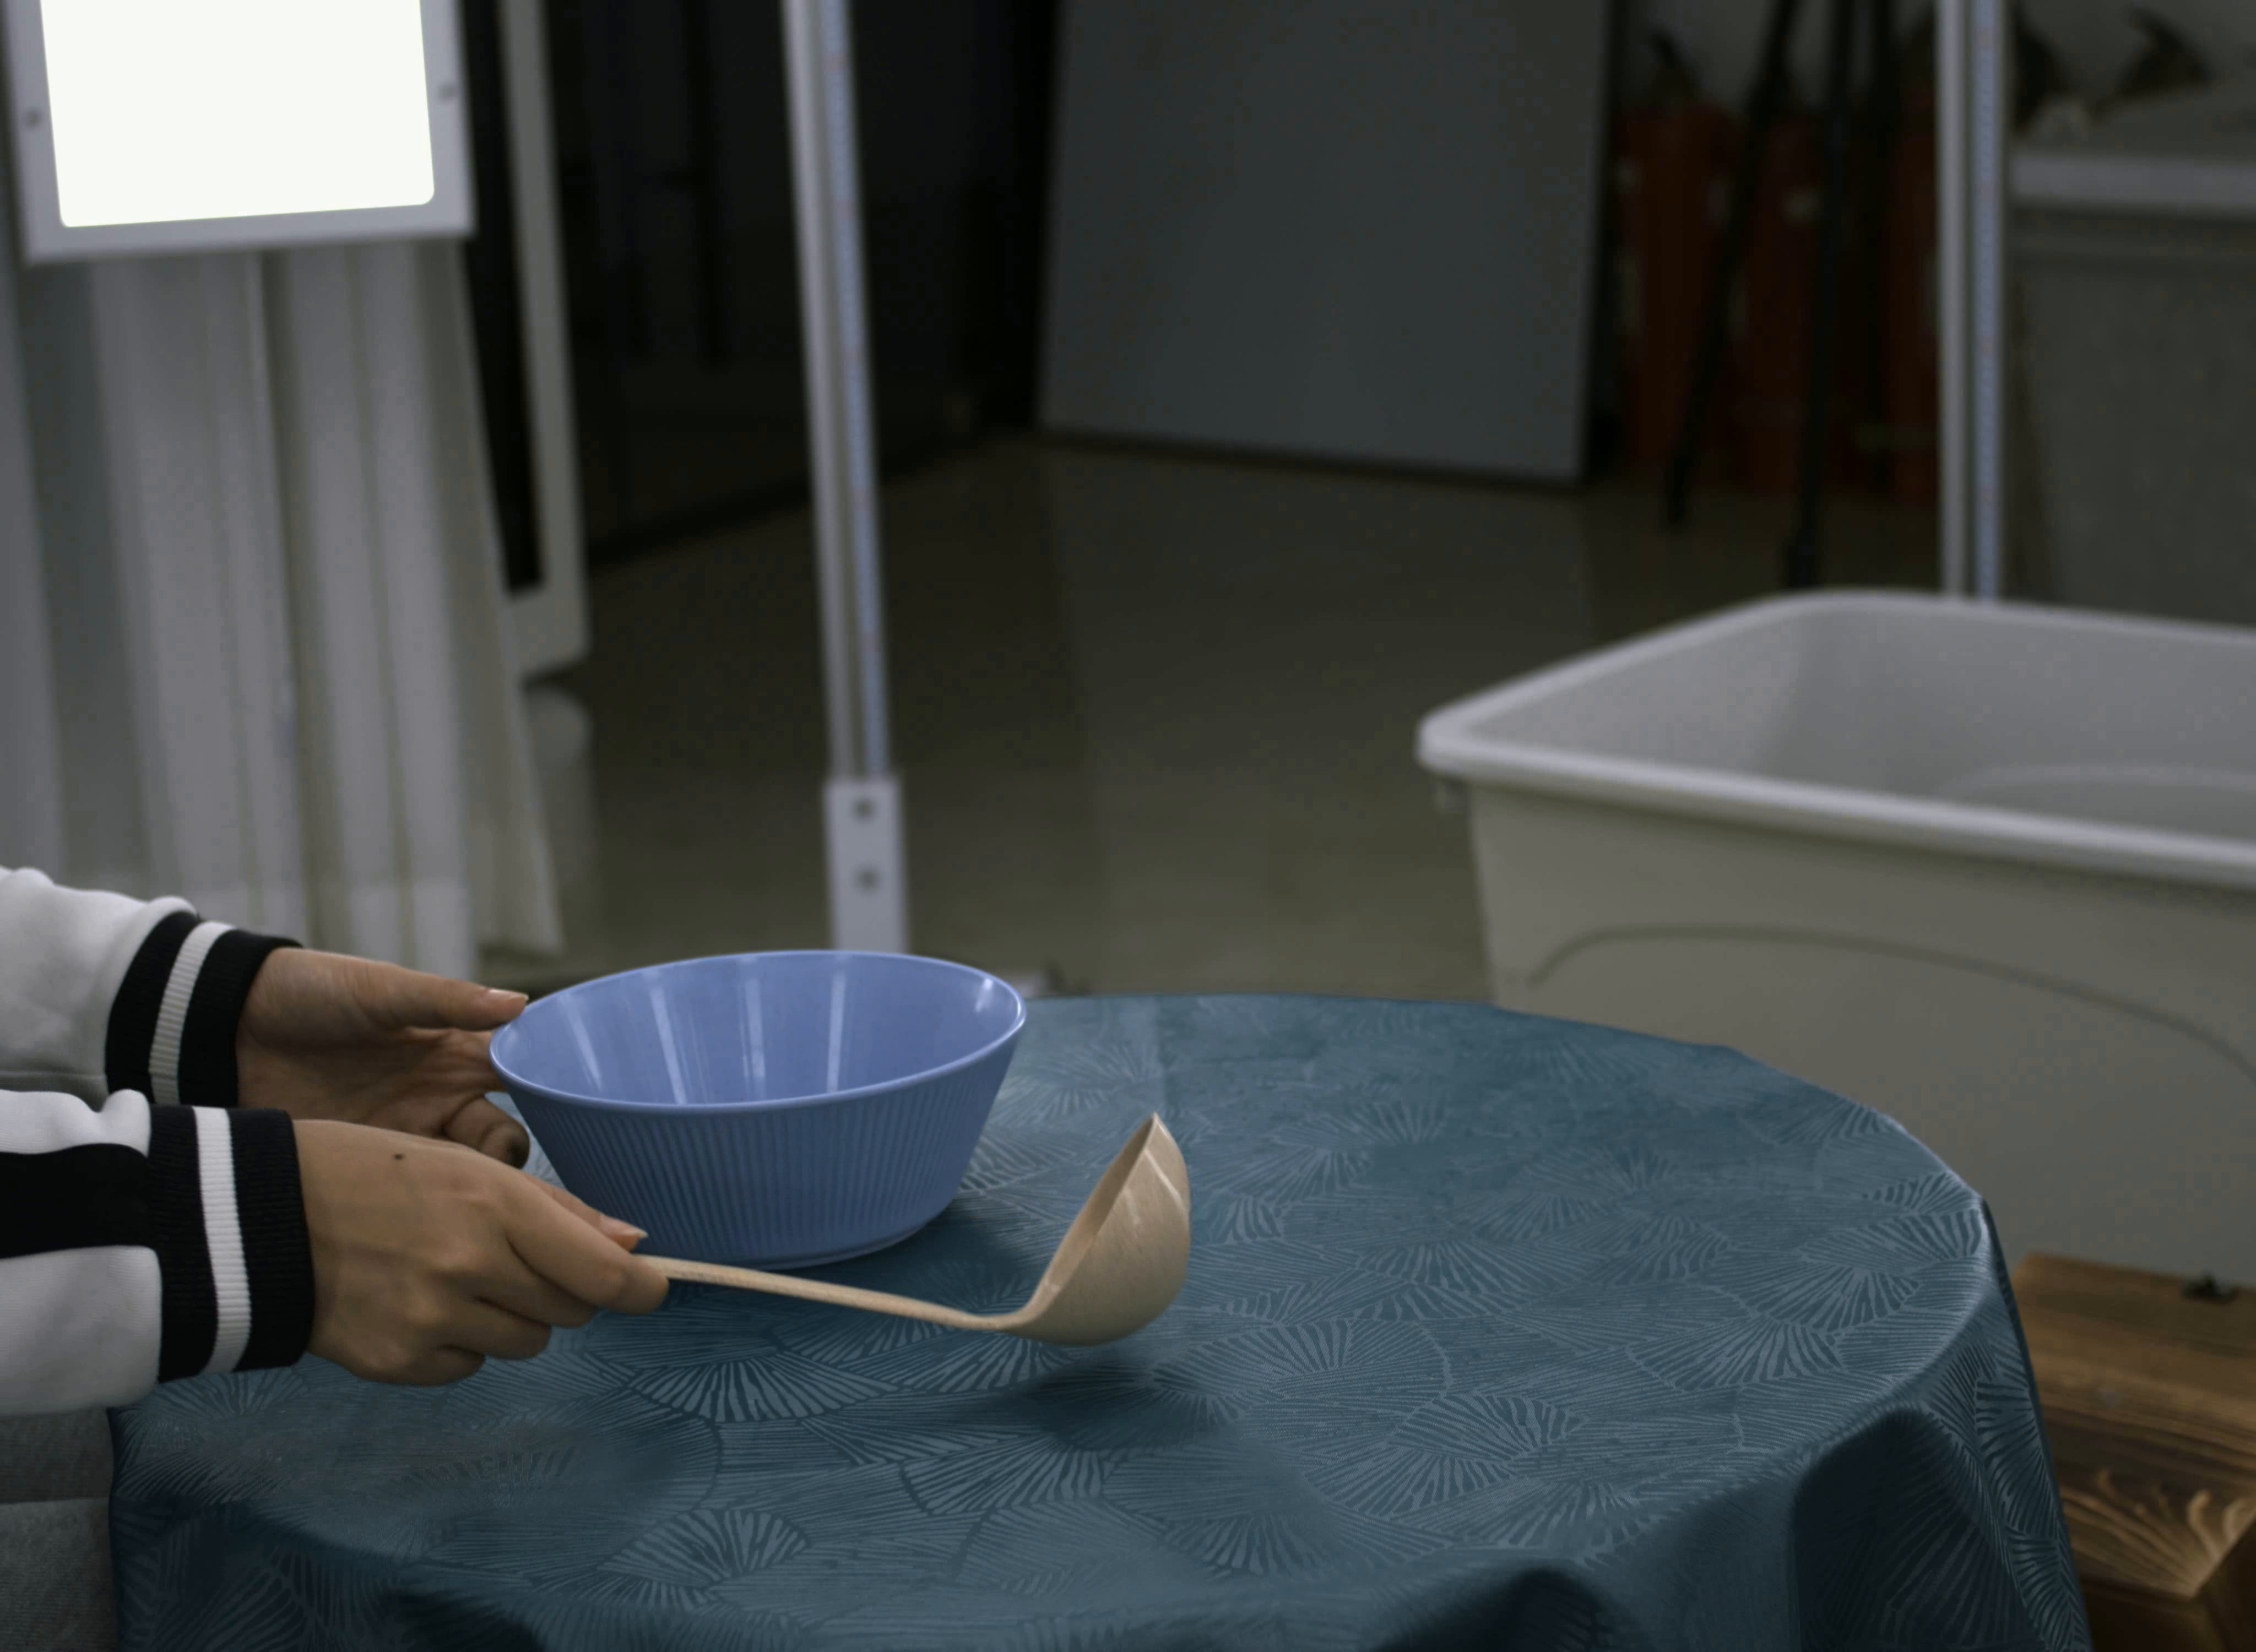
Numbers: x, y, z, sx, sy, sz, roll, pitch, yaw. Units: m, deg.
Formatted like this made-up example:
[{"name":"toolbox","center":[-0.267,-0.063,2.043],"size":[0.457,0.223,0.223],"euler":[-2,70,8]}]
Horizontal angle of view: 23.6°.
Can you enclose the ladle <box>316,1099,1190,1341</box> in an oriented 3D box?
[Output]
[{"name":"ladle","center":[-0.107,0.105,1.576],"size":[0.250,0.074,0.072],"euler":[6,-3,-7]}]

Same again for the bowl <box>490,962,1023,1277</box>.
[{"name":"bowl","center":[-0.118,0.097,1.756],"size":[0.174,0.071,0.176],"euler":[-4,13,0]}]
